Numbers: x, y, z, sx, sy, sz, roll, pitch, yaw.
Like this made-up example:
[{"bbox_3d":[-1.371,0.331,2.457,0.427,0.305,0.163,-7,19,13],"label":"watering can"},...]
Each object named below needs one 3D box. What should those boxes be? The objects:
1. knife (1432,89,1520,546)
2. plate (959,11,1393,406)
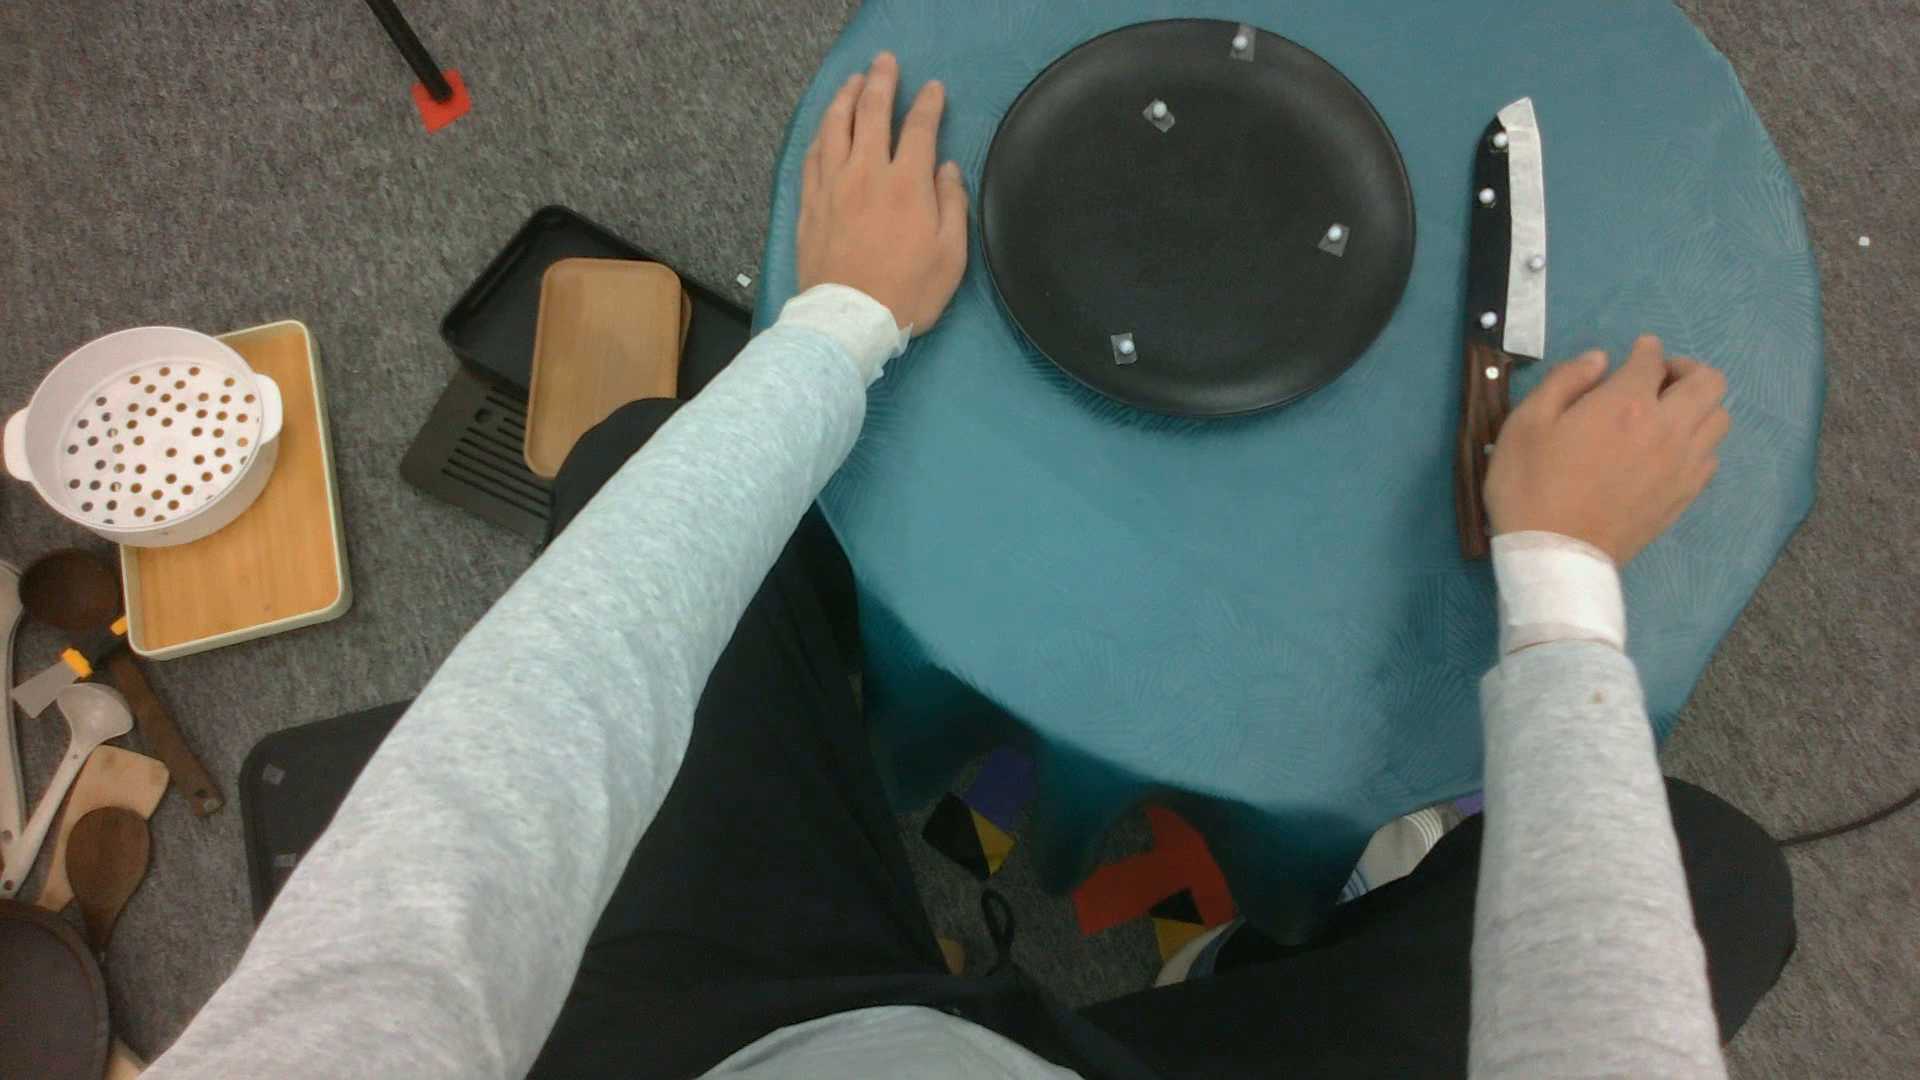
[{"bbox_3d":[0.290,-0.132,0.772,0.050,0.020,0.290,12,73,-4],"label":"knife"},{"bbox_3d":[0.121,-0.187,0.776,0.244,0.023,0.245,1,75,-2],"label":"plate"}]
